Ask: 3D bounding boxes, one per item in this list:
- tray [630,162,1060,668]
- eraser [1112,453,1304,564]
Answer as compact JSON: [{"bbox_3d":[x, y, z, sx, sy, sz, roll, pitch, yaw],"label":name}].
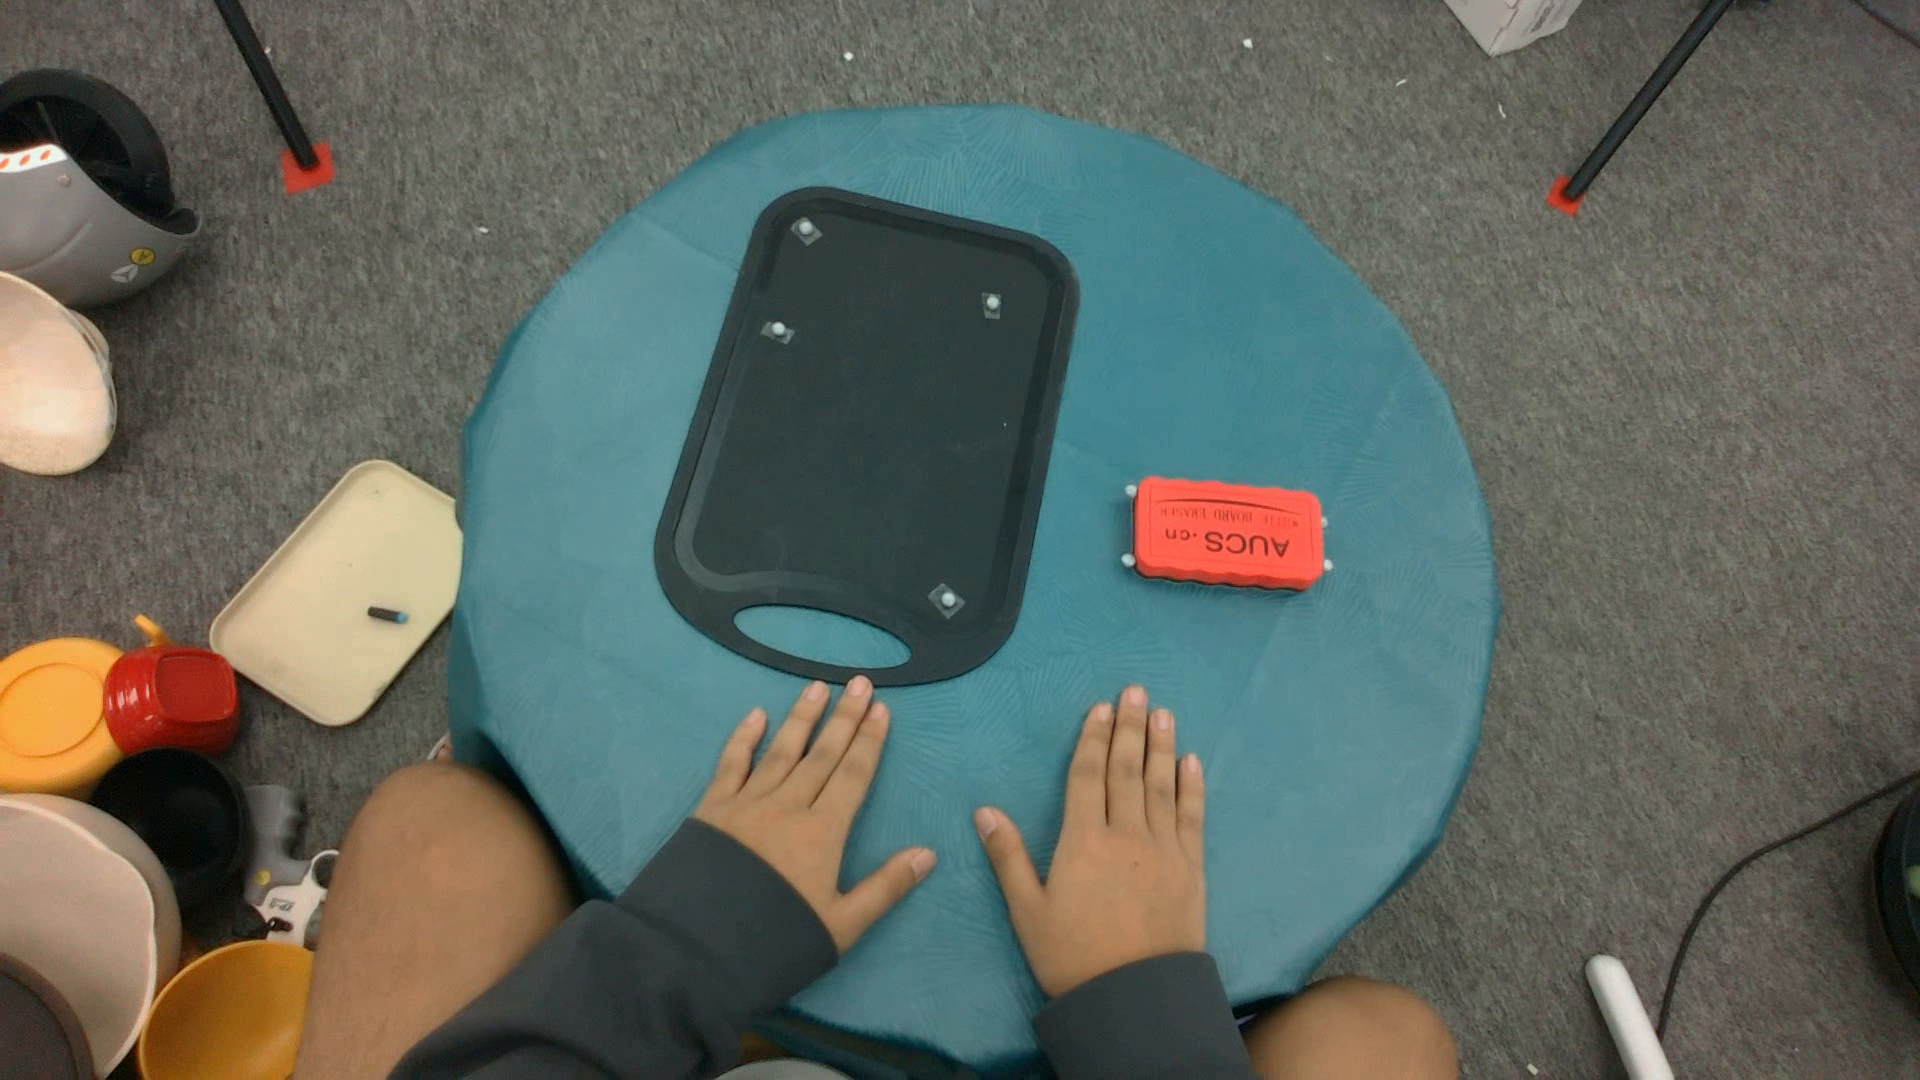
[{"bbox_3d":[-0.061,-0.081,0.809,0.211,0.010,0.326,13,66,-2],"label":"tray"},{"bbox_3d":[0.143,-0.018,0.797,0.108,0.023,0.059,4,65,-5],"label":"eraser"}]
